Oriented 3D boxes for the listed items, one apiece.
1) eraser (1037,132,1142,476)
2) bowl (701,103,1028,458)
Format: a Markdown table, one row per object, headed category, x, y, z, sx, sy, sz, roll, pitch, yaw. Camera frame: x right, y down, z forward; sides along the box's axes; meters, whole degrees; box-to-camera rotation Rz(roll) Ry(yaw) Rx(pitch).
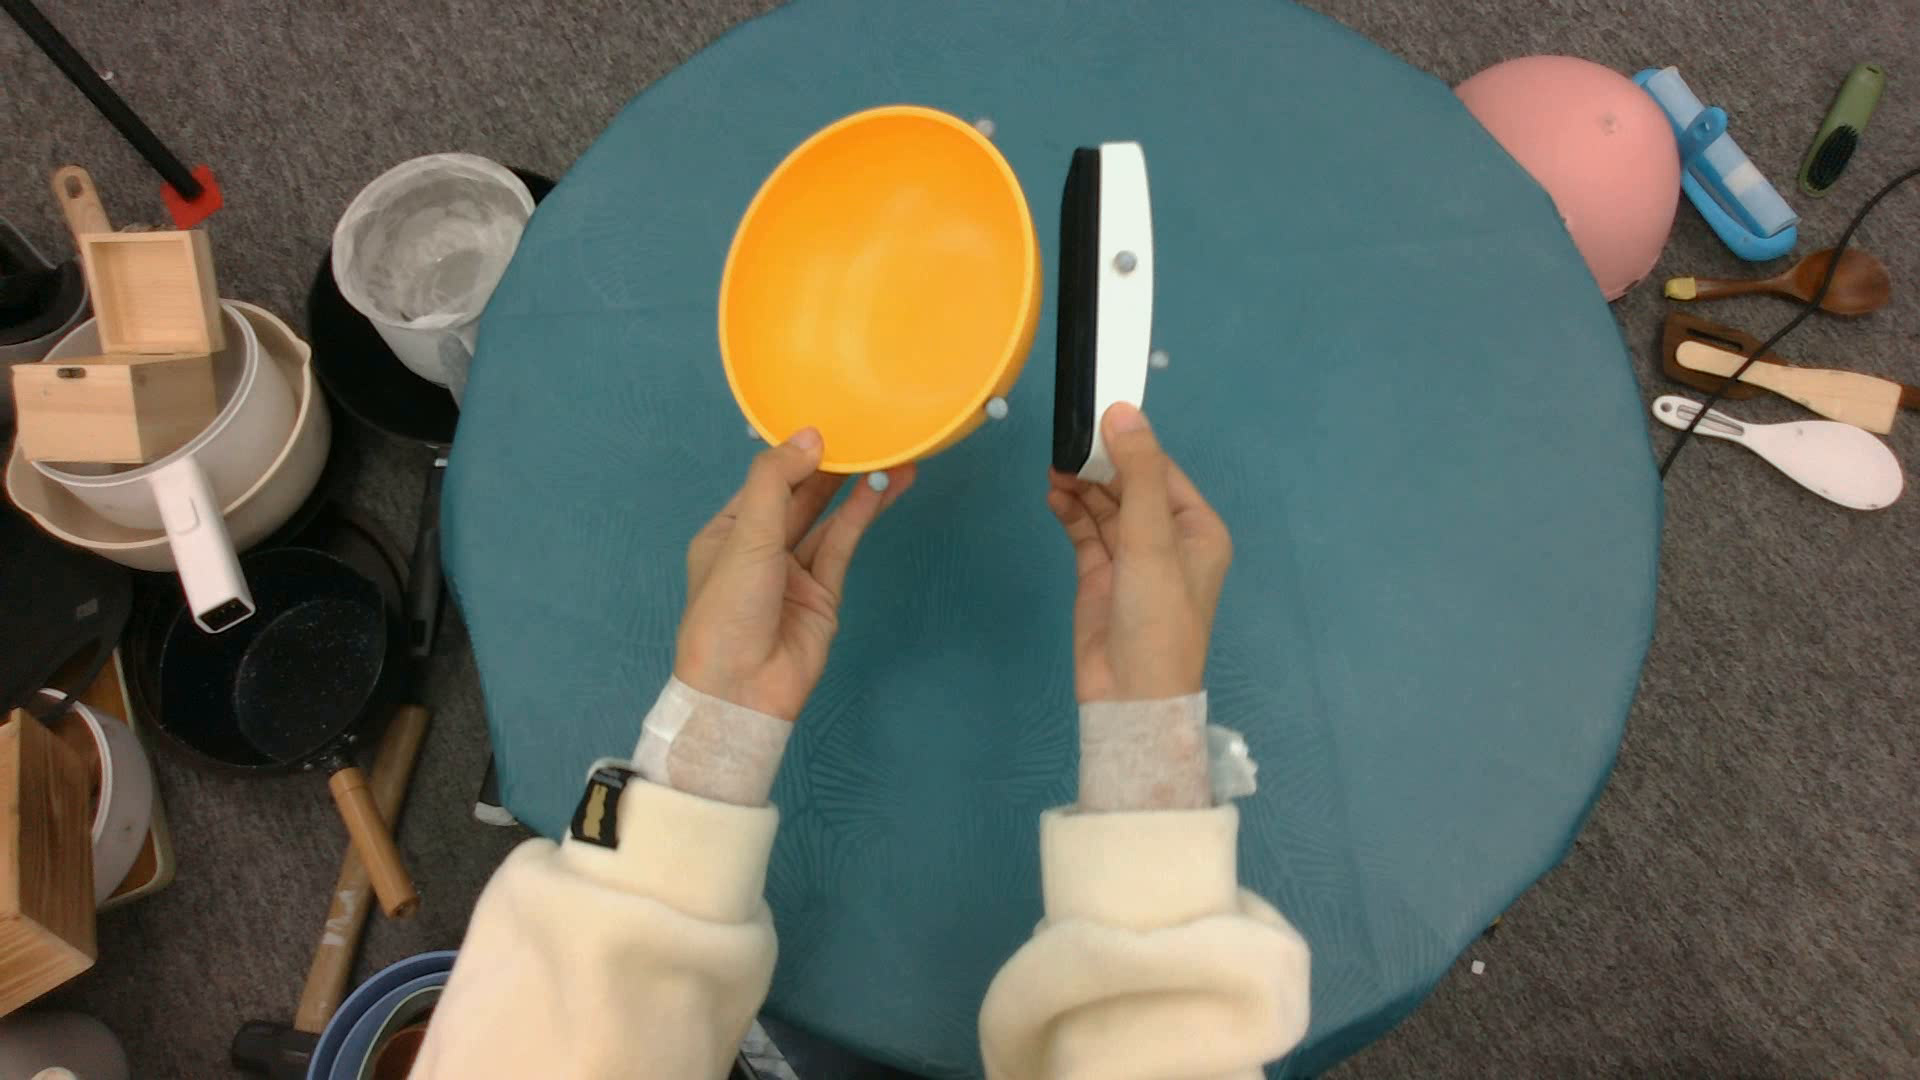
| category | x | y | z | sx | sy | sz | roll | pitch | yaw |
| --- | --- | --- | --- | --- | --- | --- | --- | --- | --- |
| eraser | 0.050 | -0.093 | 0.545 | 0.034 | 0.063 | 0.131 | 2 | 80 | -3 |
| bowl | -0.030 | -0.098 | 0.561 | 0.145 | 0.060 | 0.145 | -6 | 77 | 26 |
